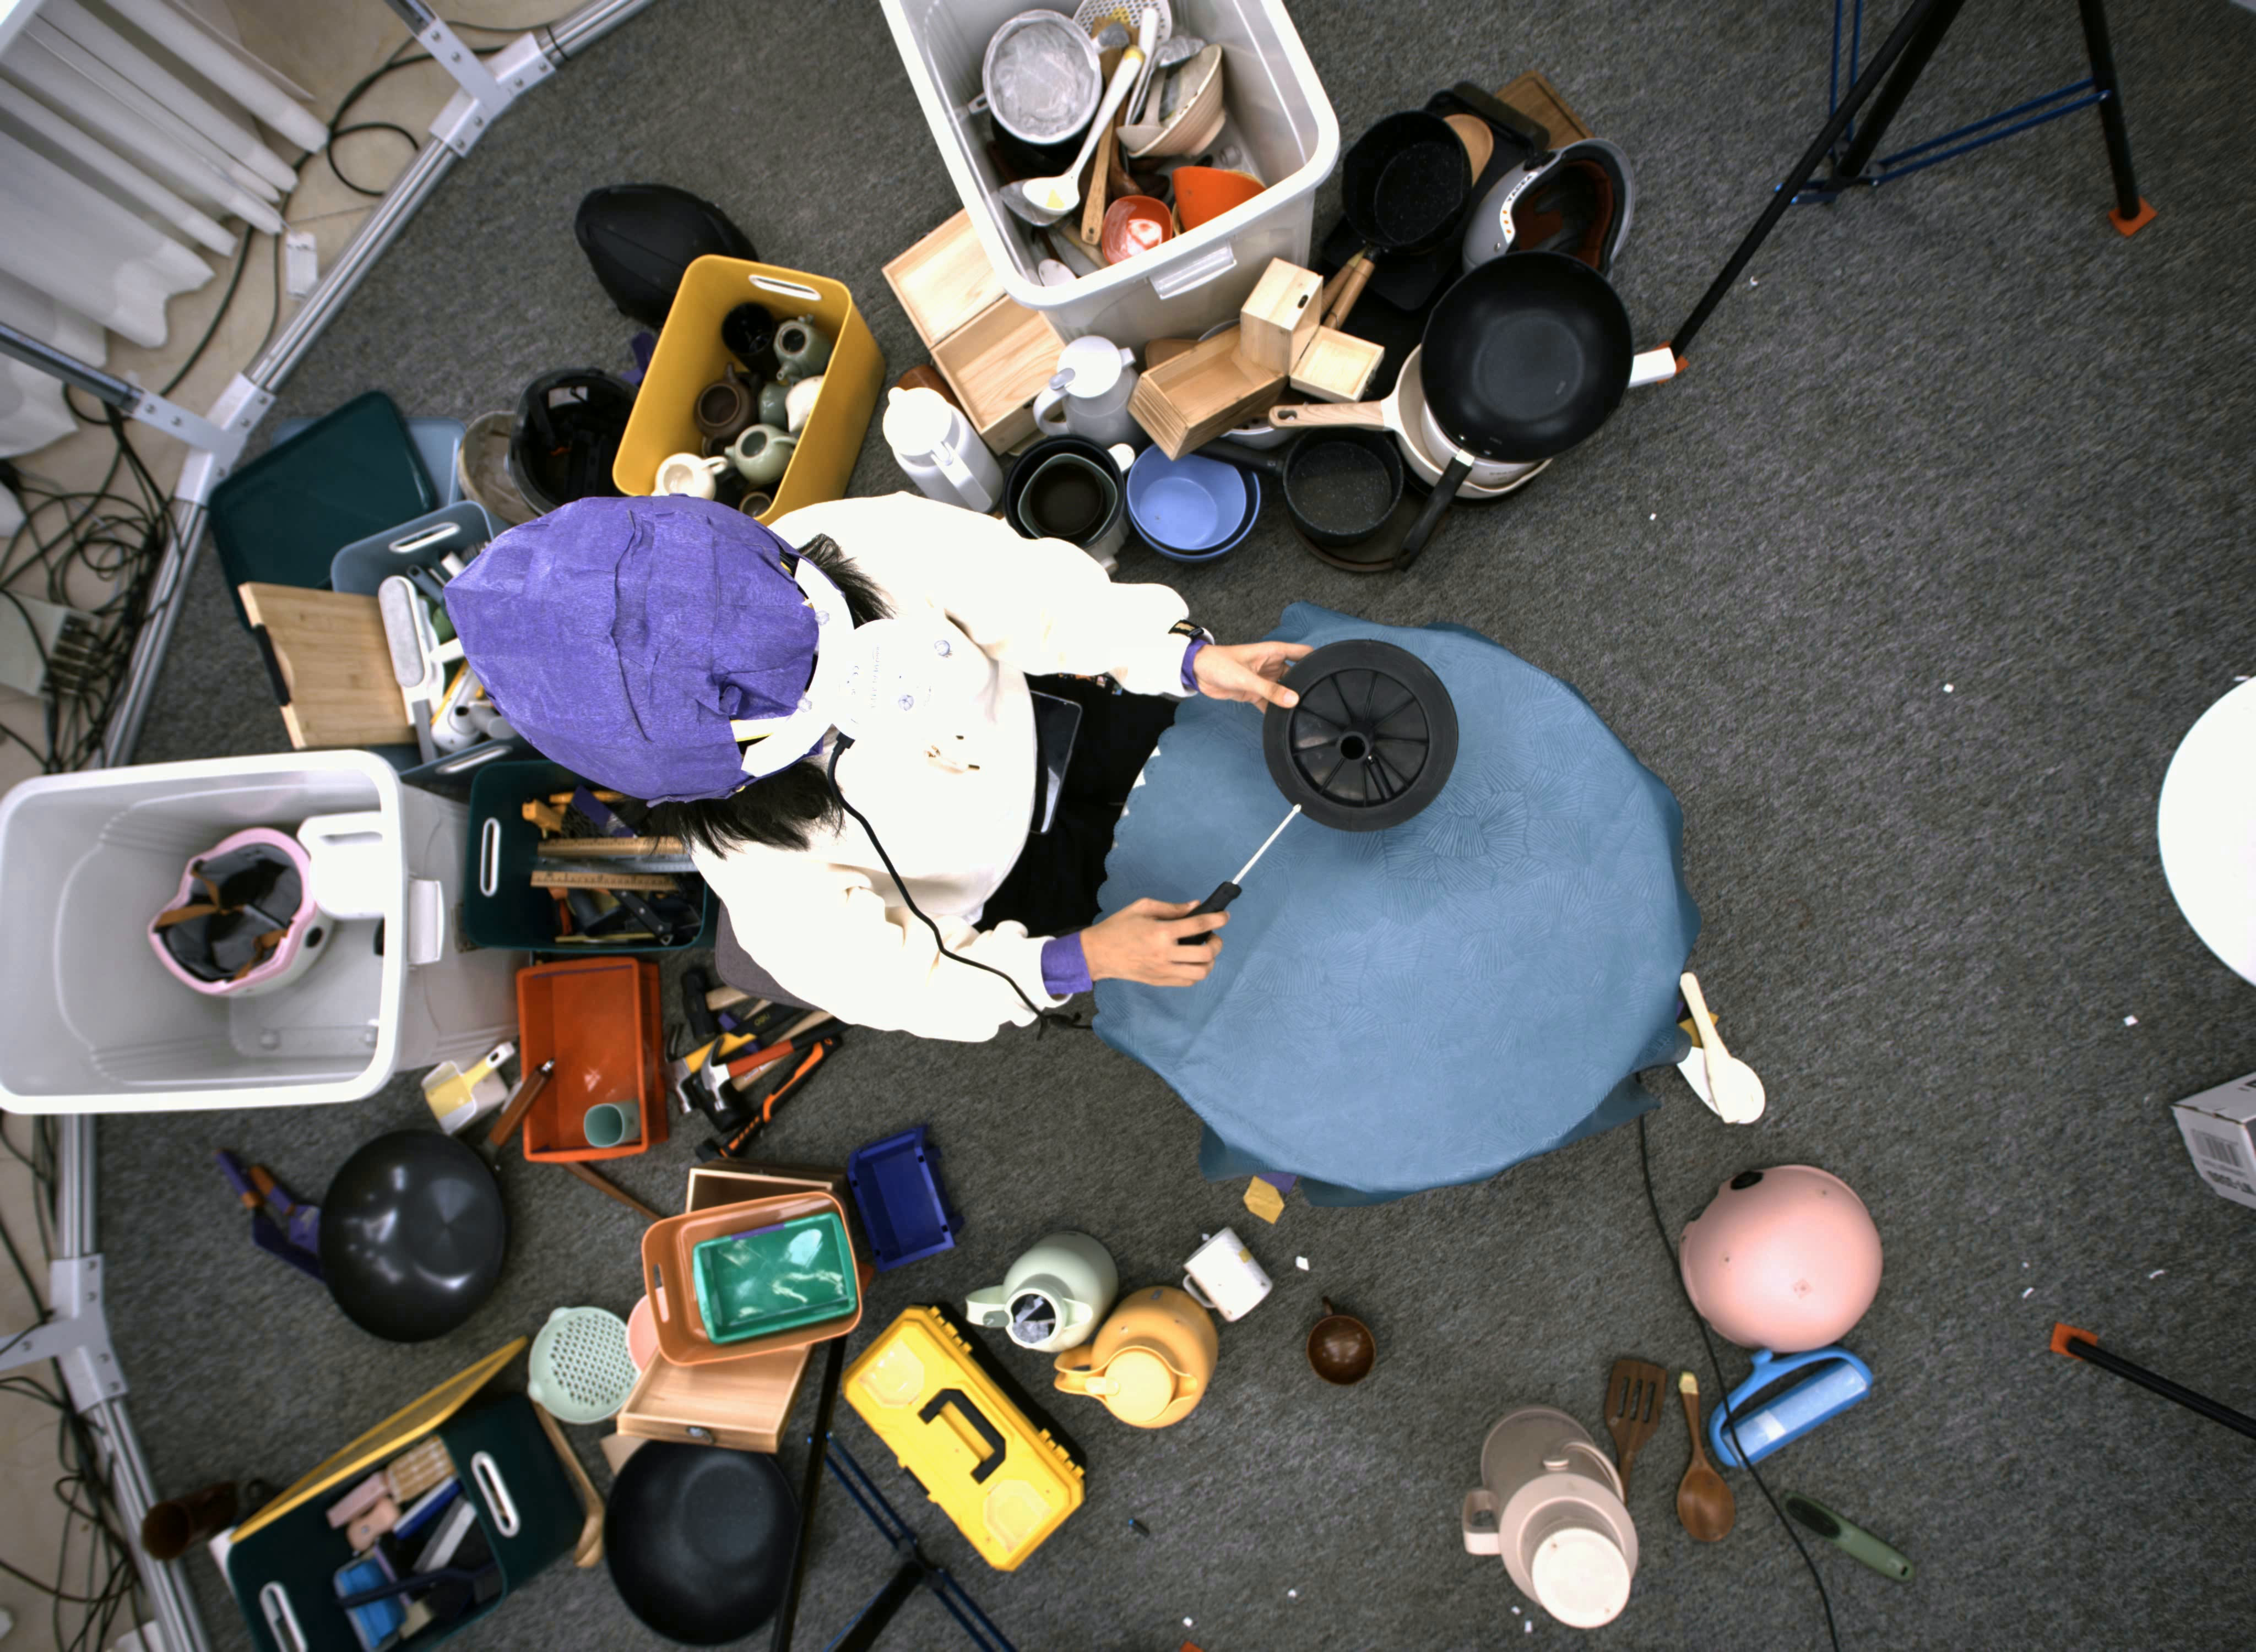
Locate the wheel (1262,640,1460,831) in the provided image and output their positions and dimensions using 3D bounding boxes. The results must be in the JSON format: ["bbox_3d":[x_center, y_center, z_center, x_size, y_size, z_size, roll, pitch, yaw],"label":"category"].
[{"bbox_3d":[0.220,-0.081,1.313,0.190,0.078,0.190,41,112,-2],"label":"wheel"}]

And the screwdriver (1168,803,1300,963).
[{"bbox_3d":[0.103,0.051,1.351,0.031,0.031,0.196,36,90,11],"label":"screwdriver"}]
